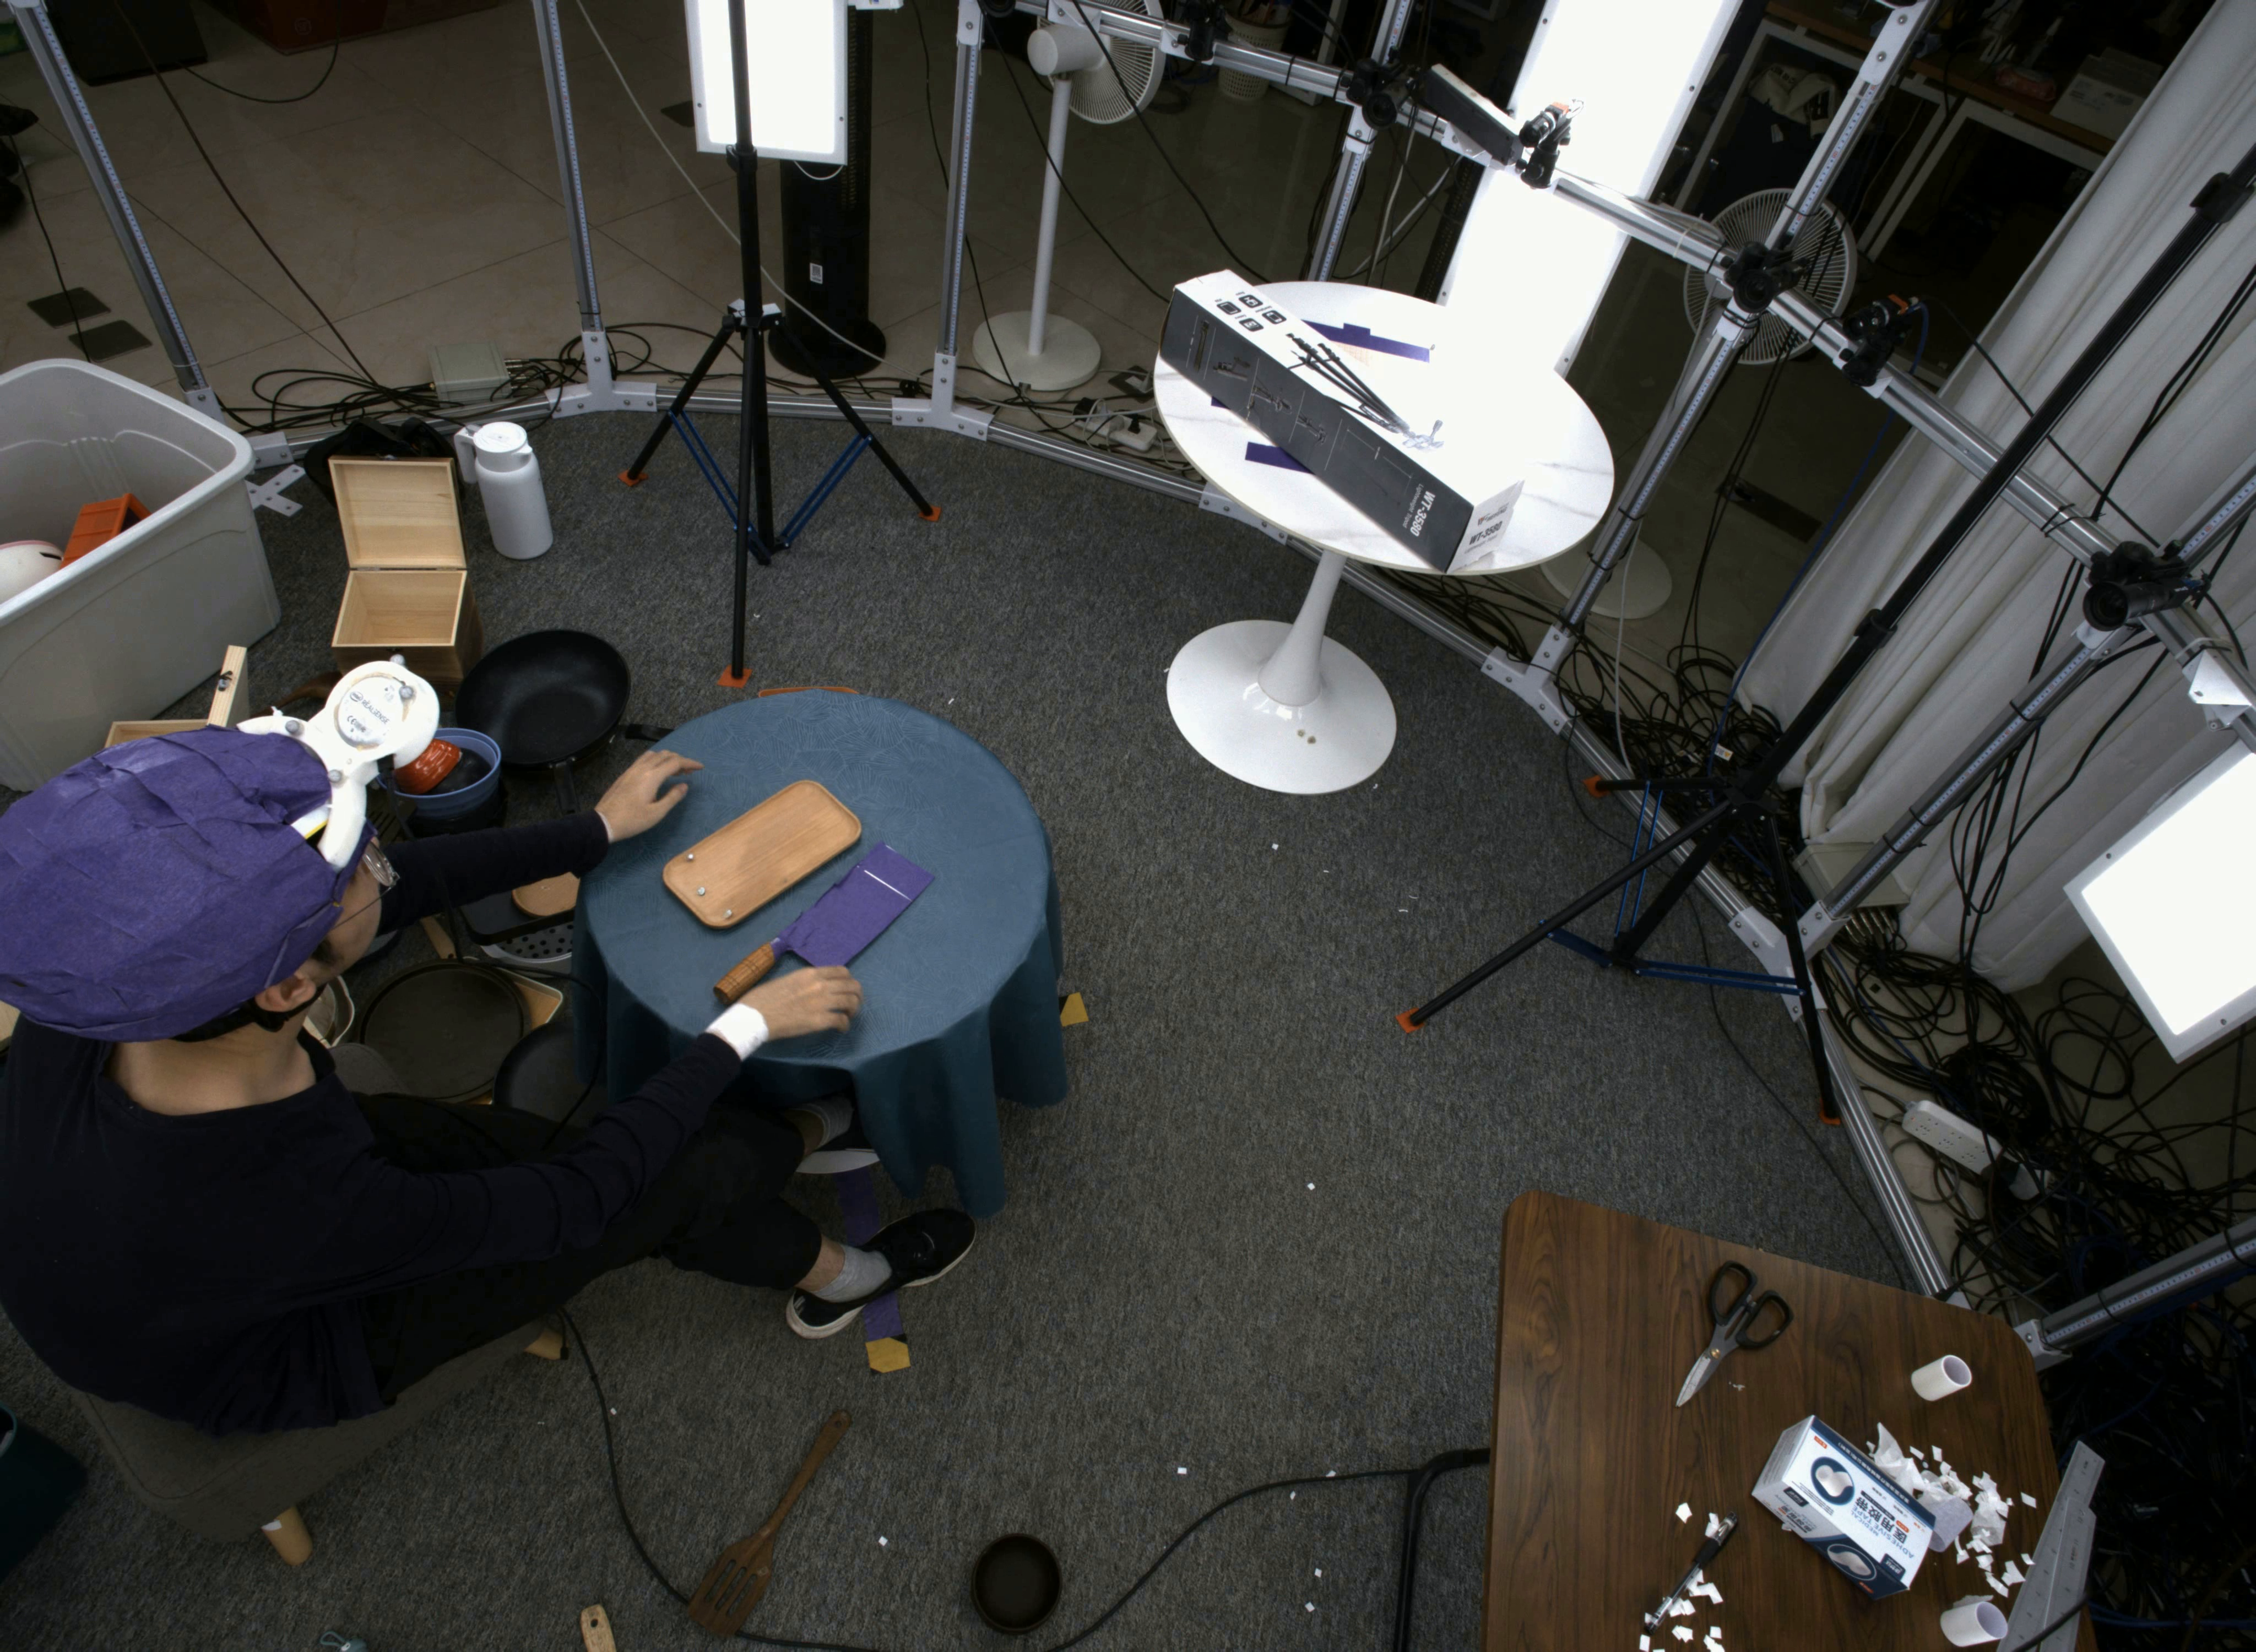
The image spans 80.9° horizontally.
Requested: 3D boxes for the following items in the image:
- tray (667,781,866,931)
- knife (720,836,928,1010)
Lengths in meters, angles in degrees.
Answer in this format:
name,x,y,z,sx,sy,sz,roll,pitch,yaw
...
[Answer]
name,x,y,z,sx,sy,sz,roll,pitch,yaw
tray,-0.469,0.035,1.687,0.128,0.023,0.251,44,55,16
knife,-0.373,0.128,1.636,0.102,0.033,0.314,32,53,11
